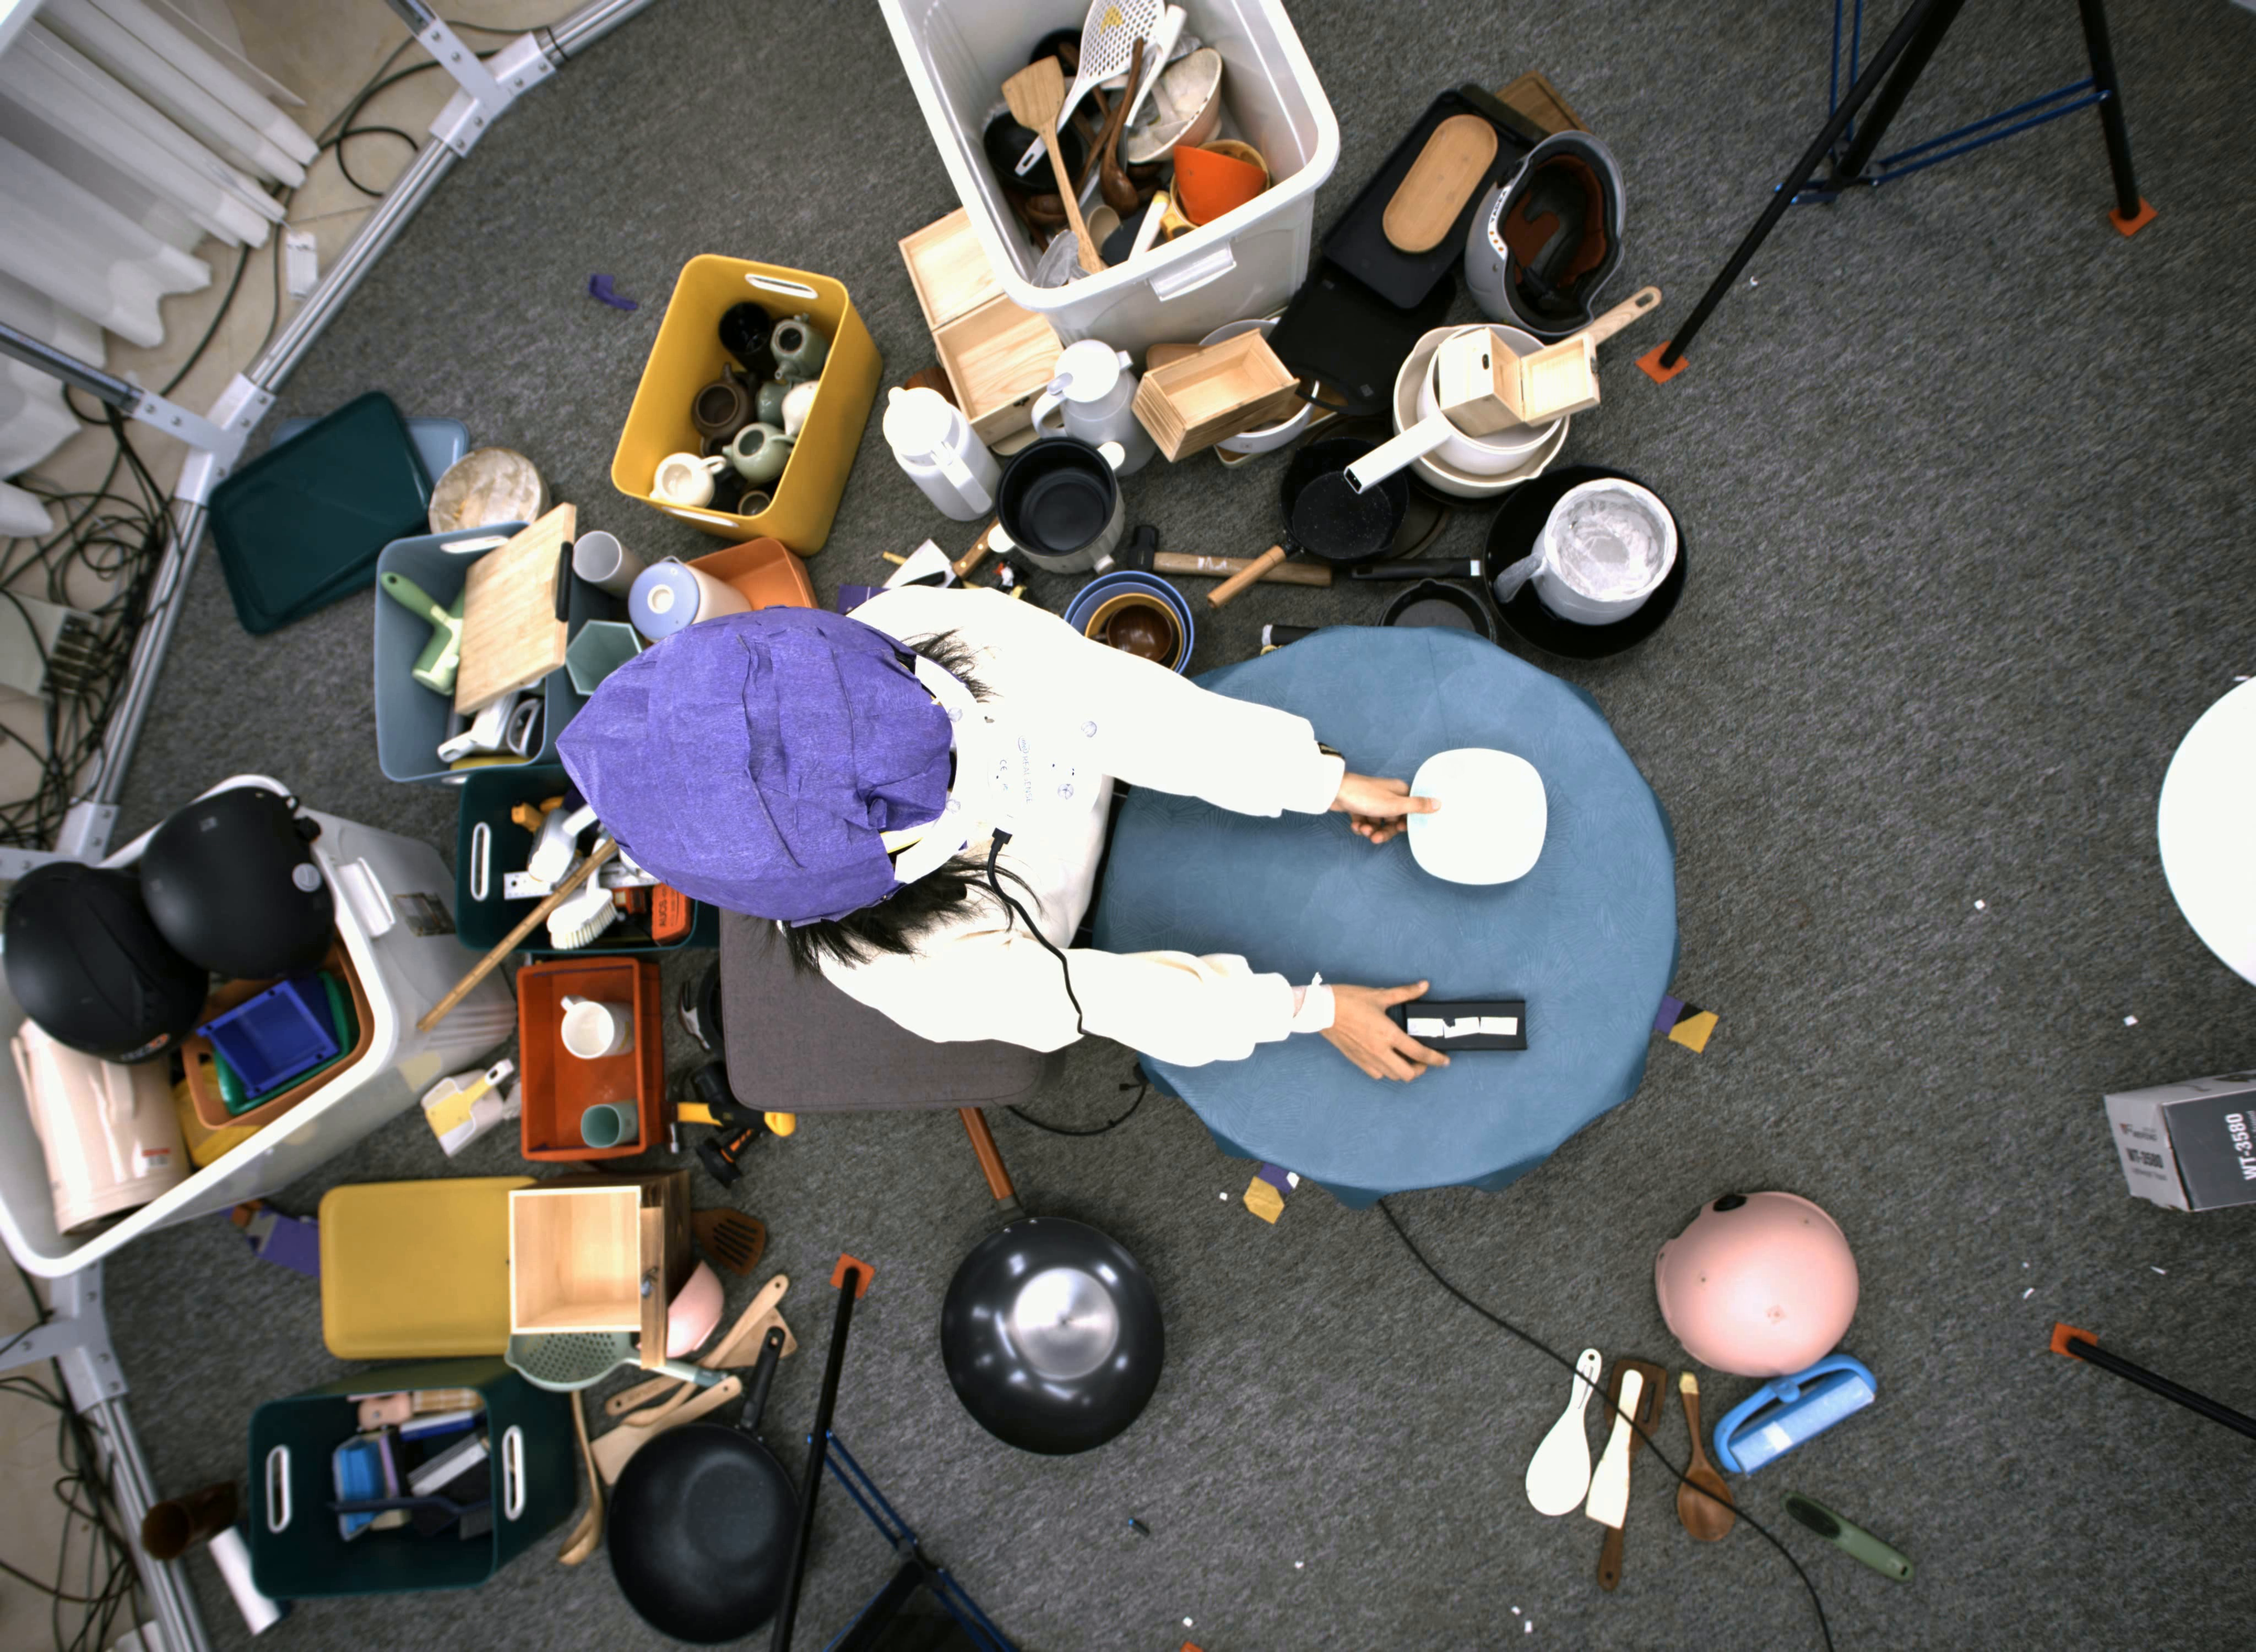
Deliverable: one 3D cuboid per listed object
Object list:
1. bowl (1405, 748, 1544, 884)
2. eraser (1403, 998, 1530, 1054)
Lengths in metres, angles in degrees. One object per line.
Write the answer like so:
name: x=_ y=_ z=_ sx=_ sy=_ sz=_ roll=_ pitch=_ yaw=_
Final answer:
bowl: x=0.355 y=-0.008 z=1.419 sx=0.152 sy=0.059 sz=0.150 roll=-1 pitch=83 yaw=9
eraser: x=0.349 y=0.205 z=1.425 sx=0.126 sy=0.030 sz=0.053 roll=-4 pitch=84 yaw=13
